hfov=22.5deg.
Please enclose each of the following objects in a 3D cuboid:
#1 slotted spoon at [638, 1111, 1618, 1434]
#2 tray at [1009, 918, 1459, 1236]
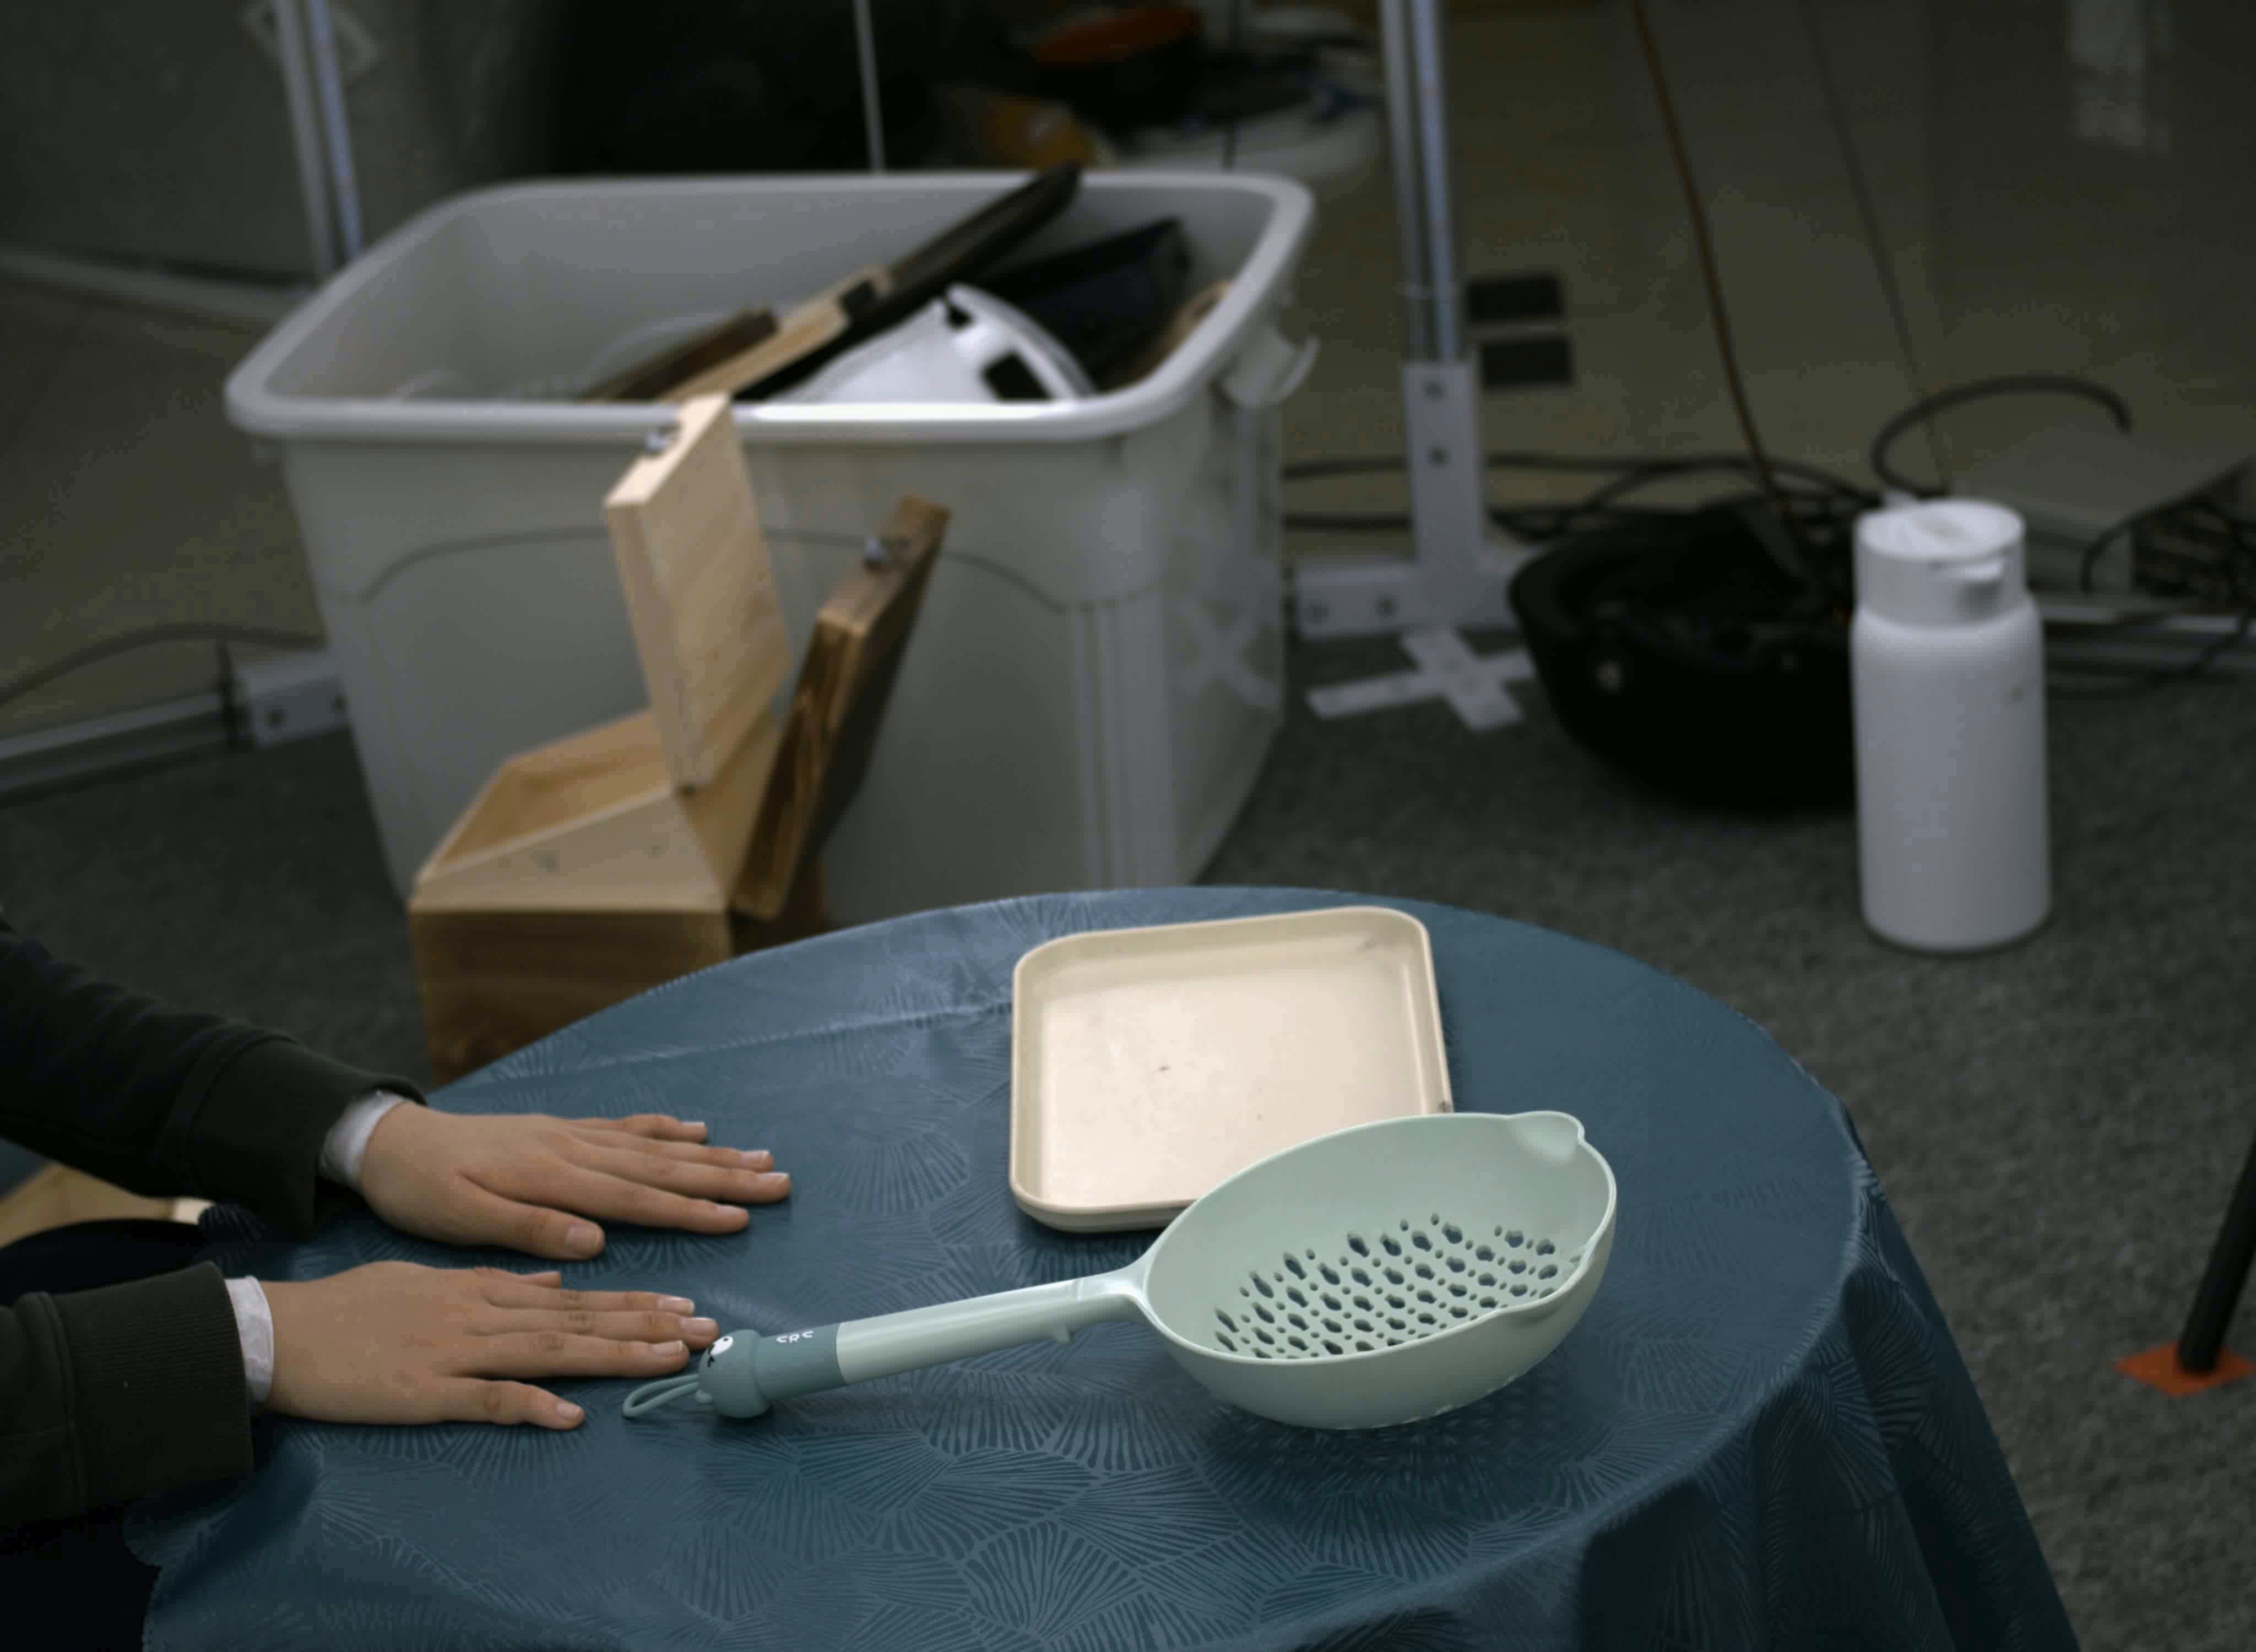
[{"bbox_3d":[-0.004,0.173,2.006,0.358,0.076,0.167,-4,24,7],"label":"slotted spoon"},{"bbox_3d":[0.039,0.097,2.215,0.171,0.018,0.236,-5,24,1],"label":"tray"}]
